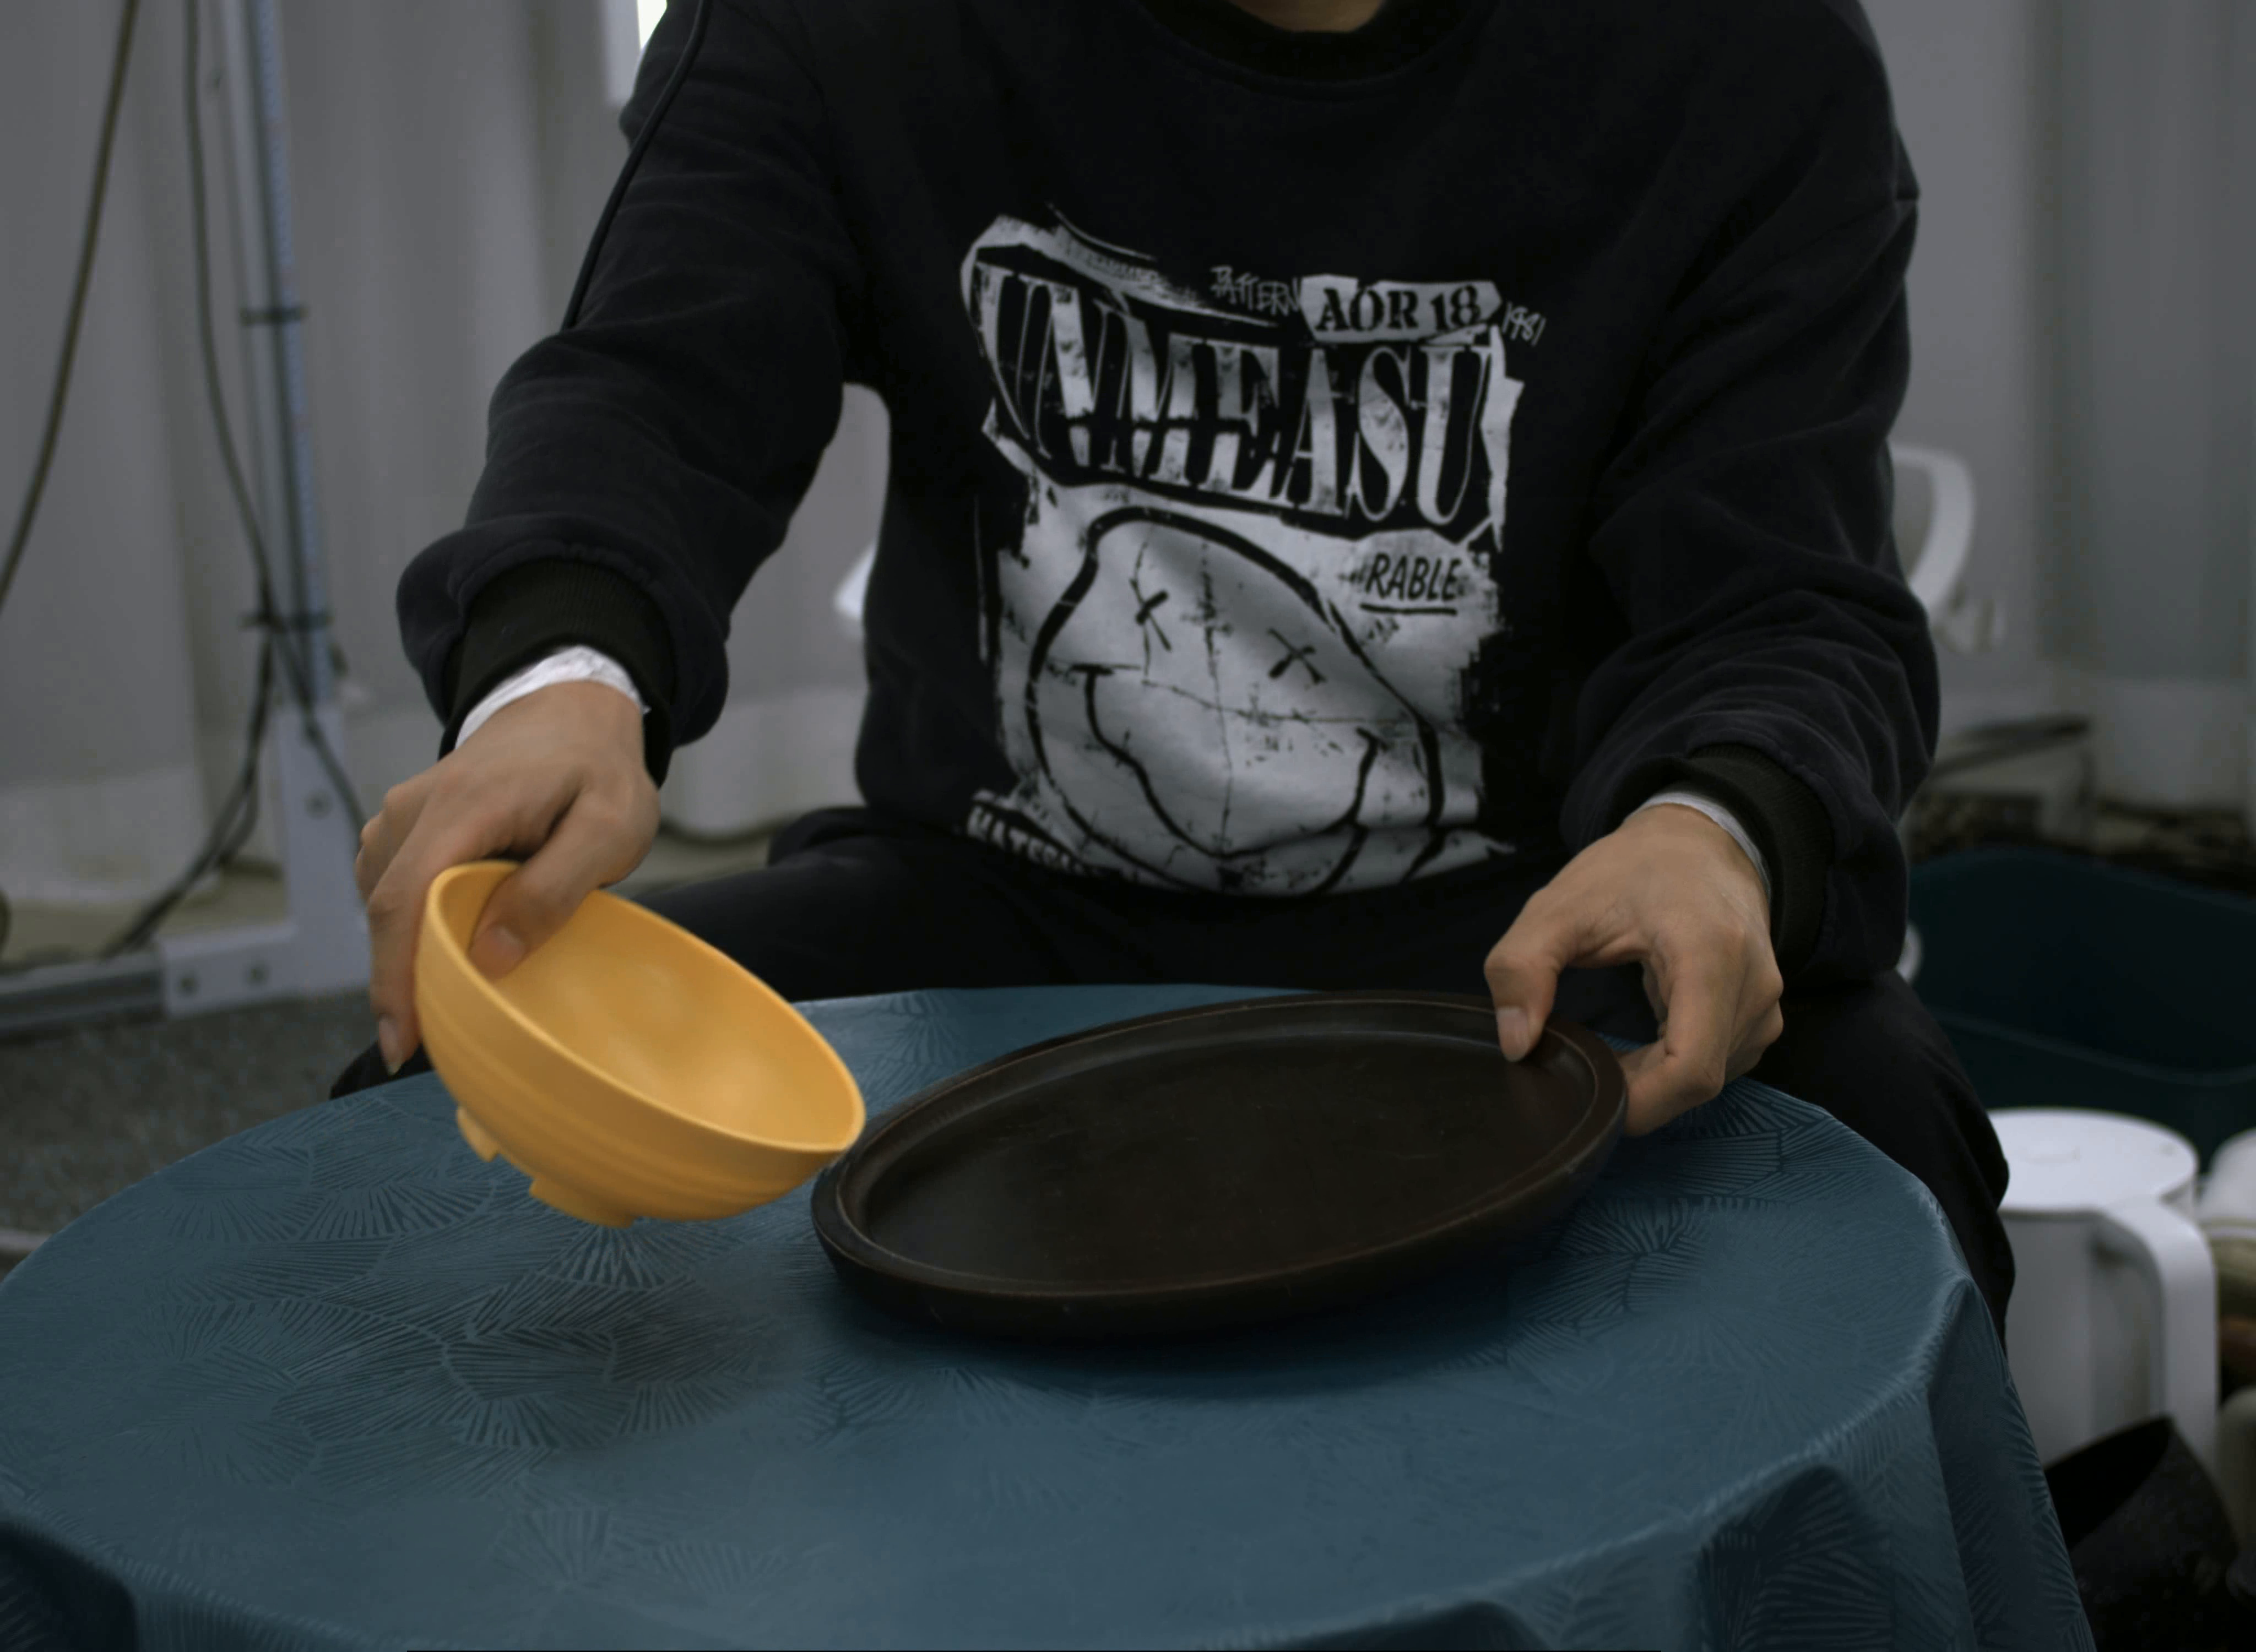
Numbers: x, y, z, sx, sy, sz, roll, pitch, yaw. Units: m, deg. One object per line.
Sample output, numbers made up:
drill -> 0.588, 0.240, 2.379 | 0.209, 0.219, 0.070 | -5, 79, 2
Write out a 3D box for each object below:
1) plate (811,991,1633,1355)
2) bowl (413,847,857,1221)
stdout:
plate -> 0.029, 0.103, 1.663 | 0.254, 0.029, 0.256 | -10, 15, 2
bowl -> -0.155, 0.072, 1.600 | 0.144, 0.060, 0.146 | 30, 17, -10
